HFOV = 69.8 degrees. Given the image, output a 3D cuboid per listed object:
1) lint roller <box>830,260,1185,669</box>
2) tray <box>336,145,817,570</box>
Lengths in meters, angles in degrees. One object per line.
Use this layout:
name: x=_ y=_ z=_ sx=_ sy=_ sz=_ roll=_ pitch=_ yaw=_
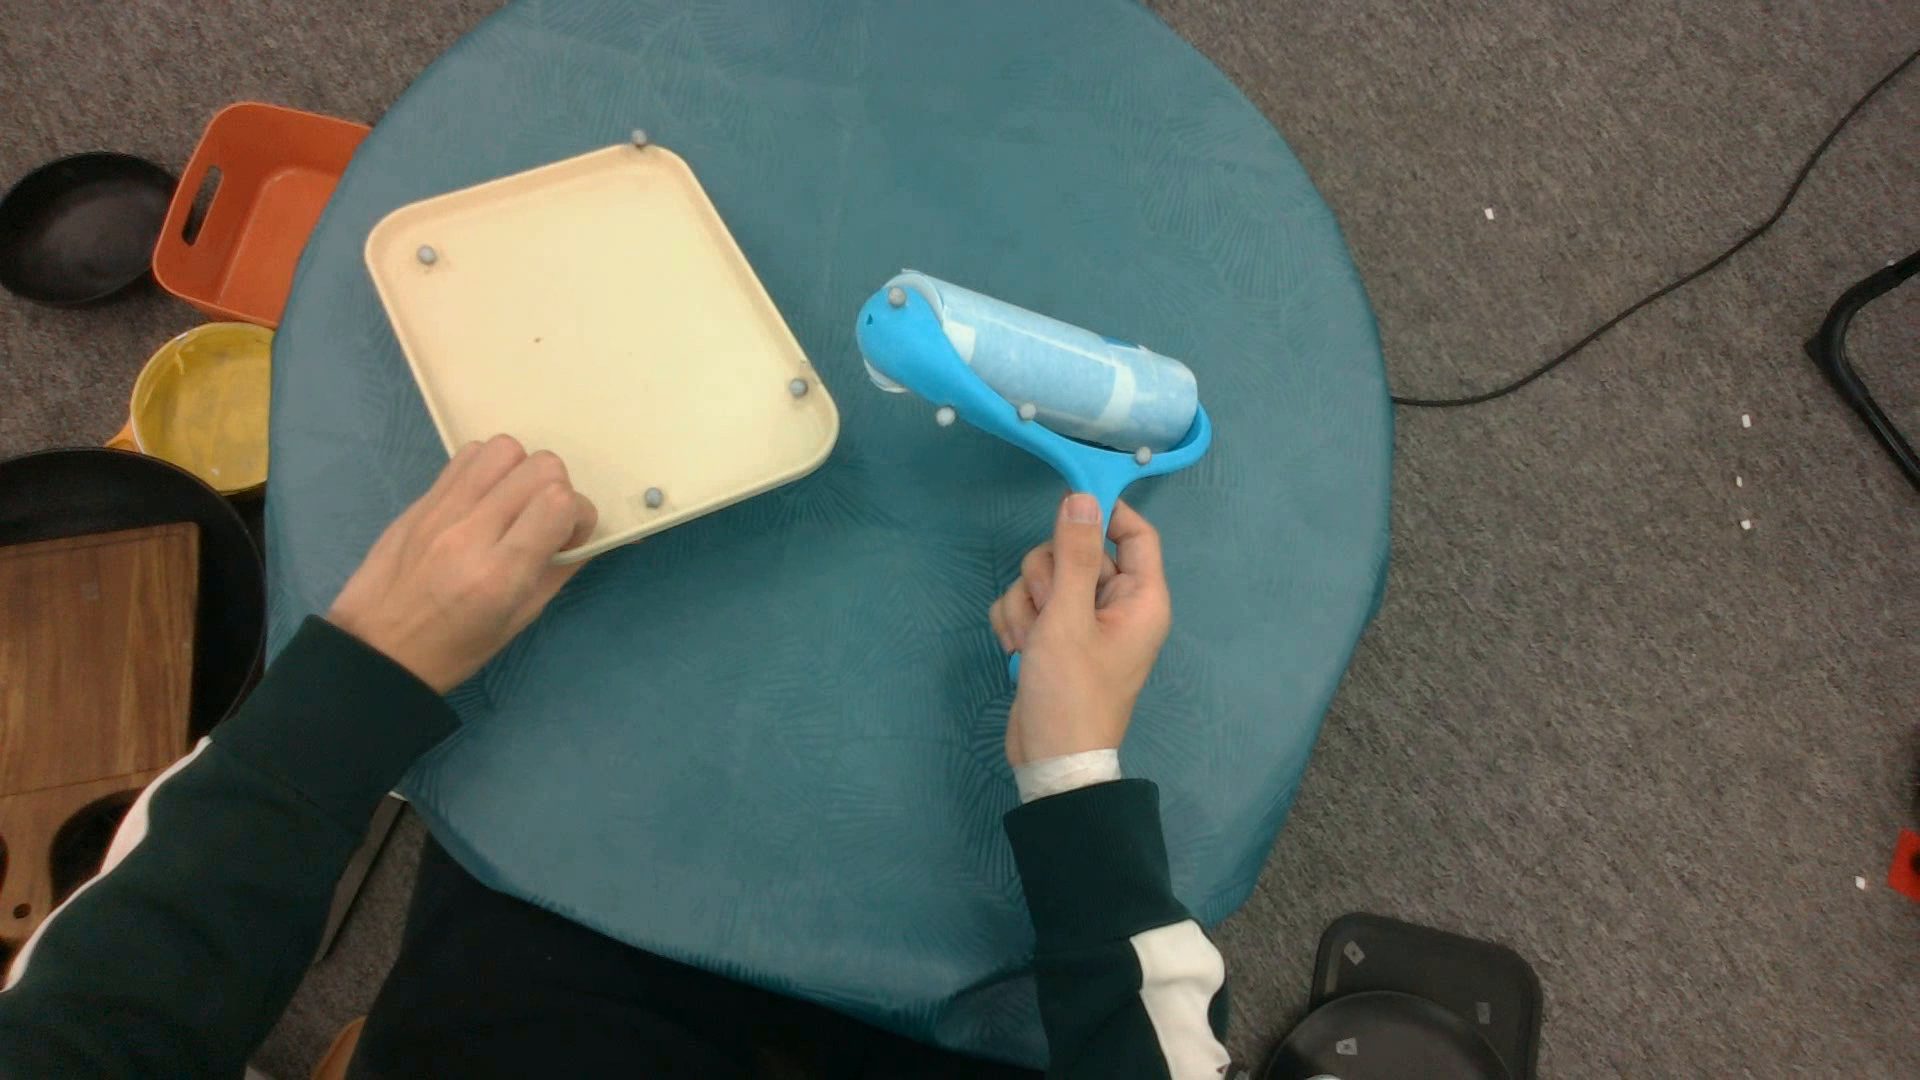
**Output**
lint roller: x=0.035 y=-0.032 z=0.660 sx=0.229 sy=0.067 sz=0.180 roll=3 pitch=76 yaw=-49
tray: x=-0.190 y=-0.098 z=0.676 sx=0.172 sy=0.017 sz=0.240 roll=-25 pitch=62 yaw=-19
